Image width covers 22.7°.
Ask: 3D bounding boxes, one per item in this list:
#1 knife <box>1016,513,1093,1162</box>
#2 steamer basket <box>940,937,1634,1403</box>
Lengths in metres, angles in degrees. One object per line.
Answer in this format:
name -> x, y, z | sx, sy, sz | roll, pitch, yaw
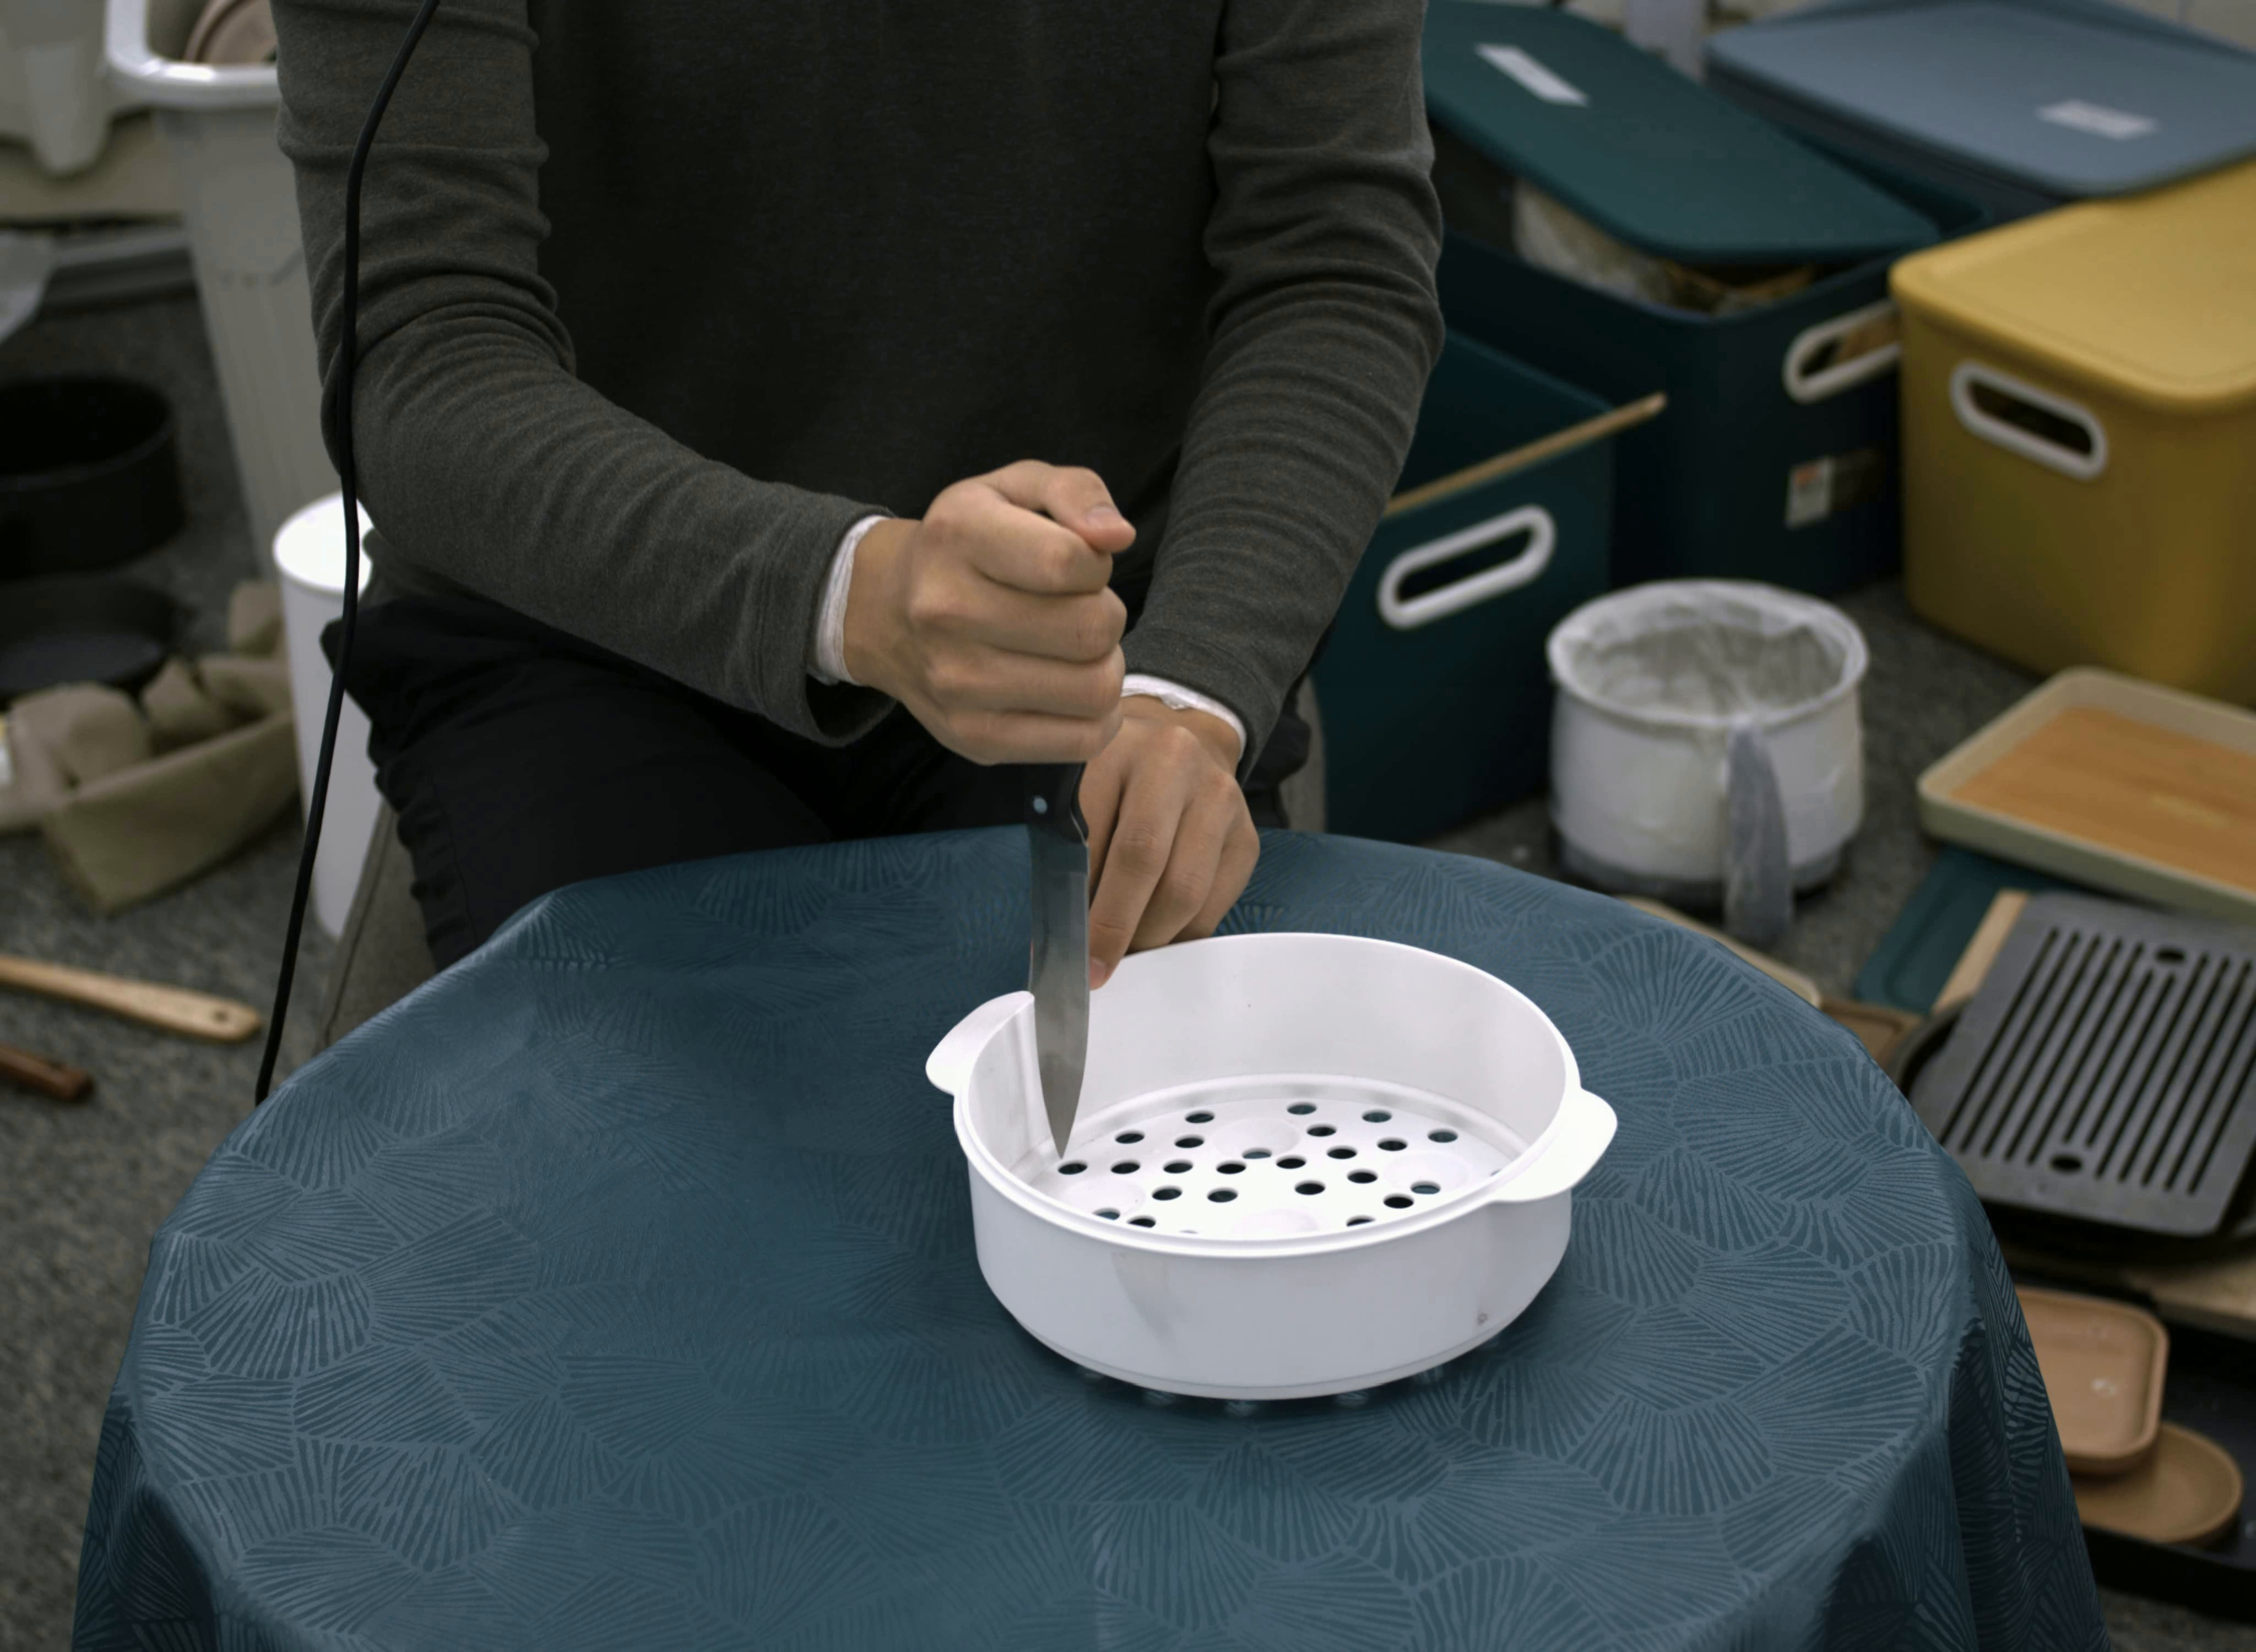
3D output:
knife -> -0.023, 0.006, 1.801 | 0.024, 0.235, 0.016 | 18, 34, 32
steamer basket -> 0.050, 0.110, 1.805 | 0.229, 0.068, 0.205 | 10, 29, 25
